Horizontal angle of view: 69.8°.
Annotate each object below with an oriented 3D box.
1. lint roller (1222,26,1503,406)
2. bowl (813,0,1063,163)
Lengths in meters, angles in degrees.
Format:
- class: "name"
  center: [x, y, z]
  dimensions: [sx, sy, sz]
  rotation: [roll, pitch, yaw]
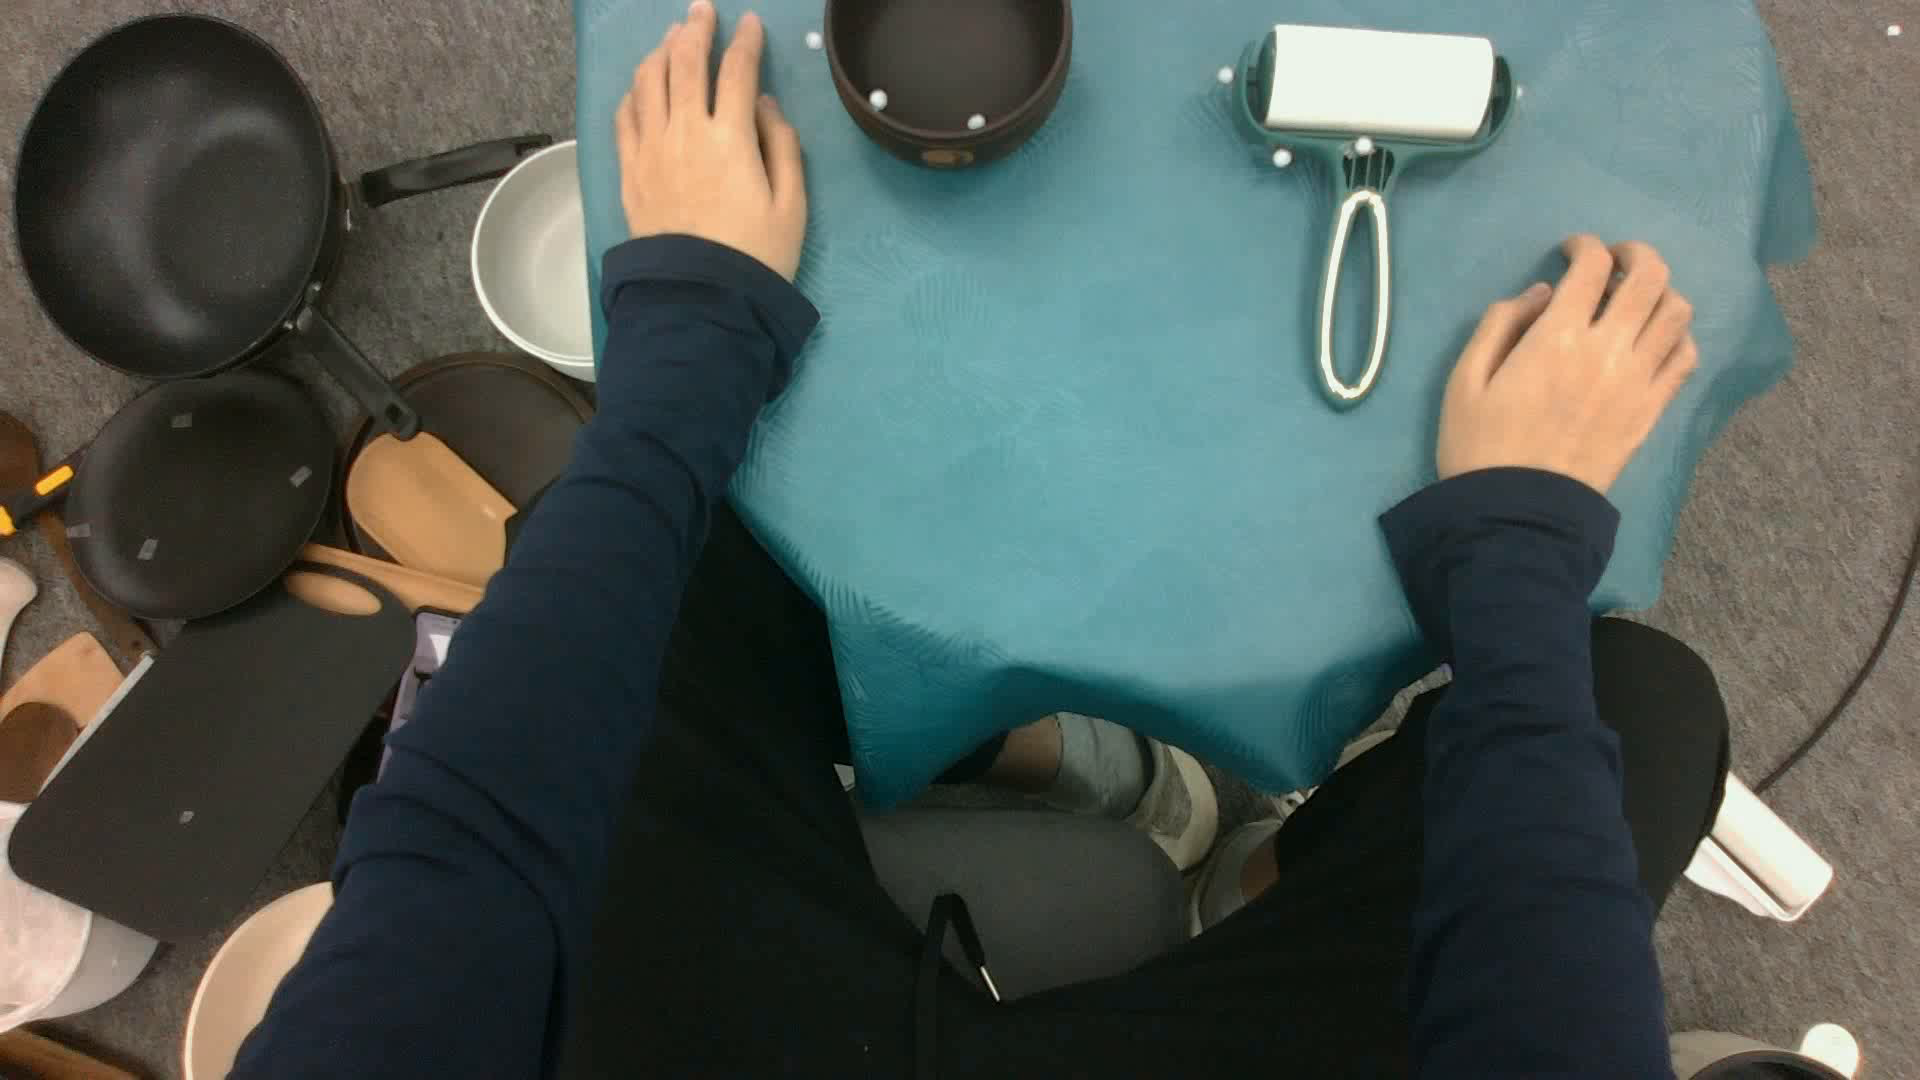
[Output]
- class: "lint roller"
  center: [0.189, -0.157, 0.665]
  dimensions: [0.134, 0.048, 0.180]
  rotation: [4, 84, 2]
- class: "bowl"
  center: [-0.010, -0.238, 0.665]
  dimensions: [0.118, 0.070, 0.118]
  rotation: [0, 83, 0]
